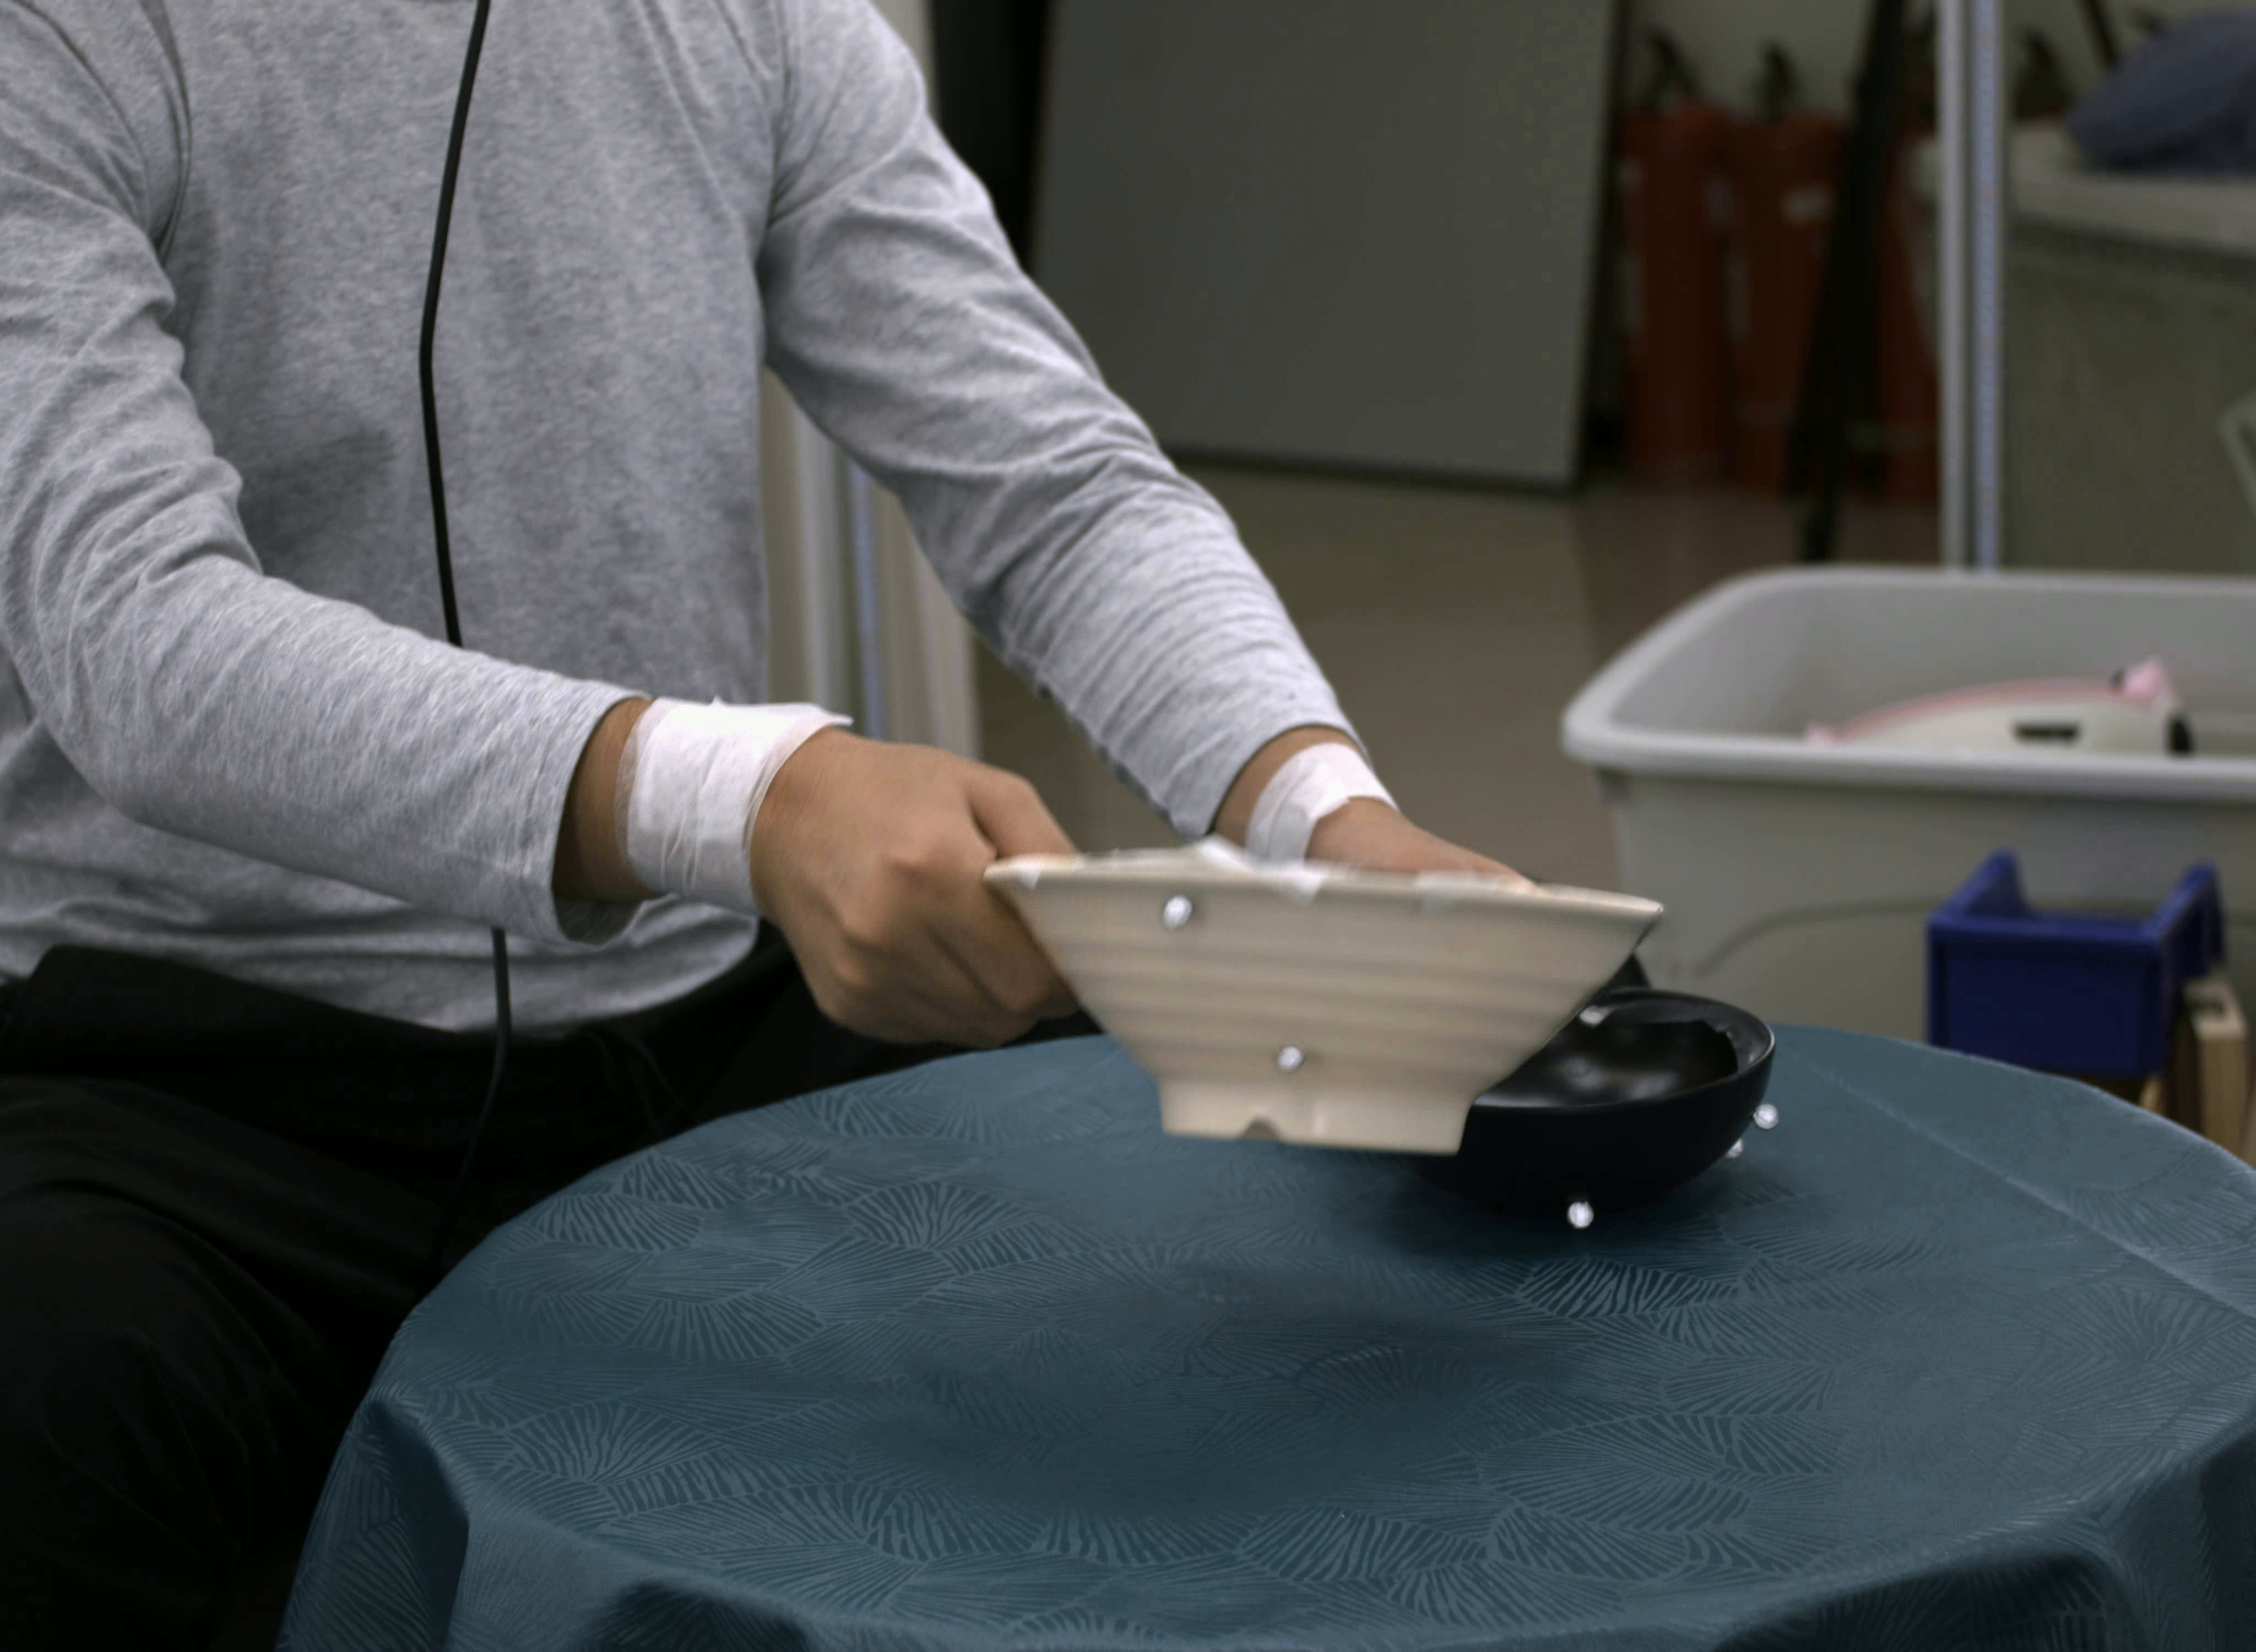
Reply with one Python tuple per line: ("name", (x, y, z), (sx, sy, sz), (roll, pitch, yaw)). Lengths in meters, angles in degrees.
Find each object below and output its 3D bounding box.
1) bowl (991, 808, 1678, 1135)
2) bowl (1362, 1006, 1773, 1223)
("bowl", (0.057, 0.047, 1.568), (0.201, 0.079, 0.204), (5, -6, 0))
("bowl", (0.141, 0.096, 1.742), (0.138, 0.050, 0.140), (-5, 9, 0))
